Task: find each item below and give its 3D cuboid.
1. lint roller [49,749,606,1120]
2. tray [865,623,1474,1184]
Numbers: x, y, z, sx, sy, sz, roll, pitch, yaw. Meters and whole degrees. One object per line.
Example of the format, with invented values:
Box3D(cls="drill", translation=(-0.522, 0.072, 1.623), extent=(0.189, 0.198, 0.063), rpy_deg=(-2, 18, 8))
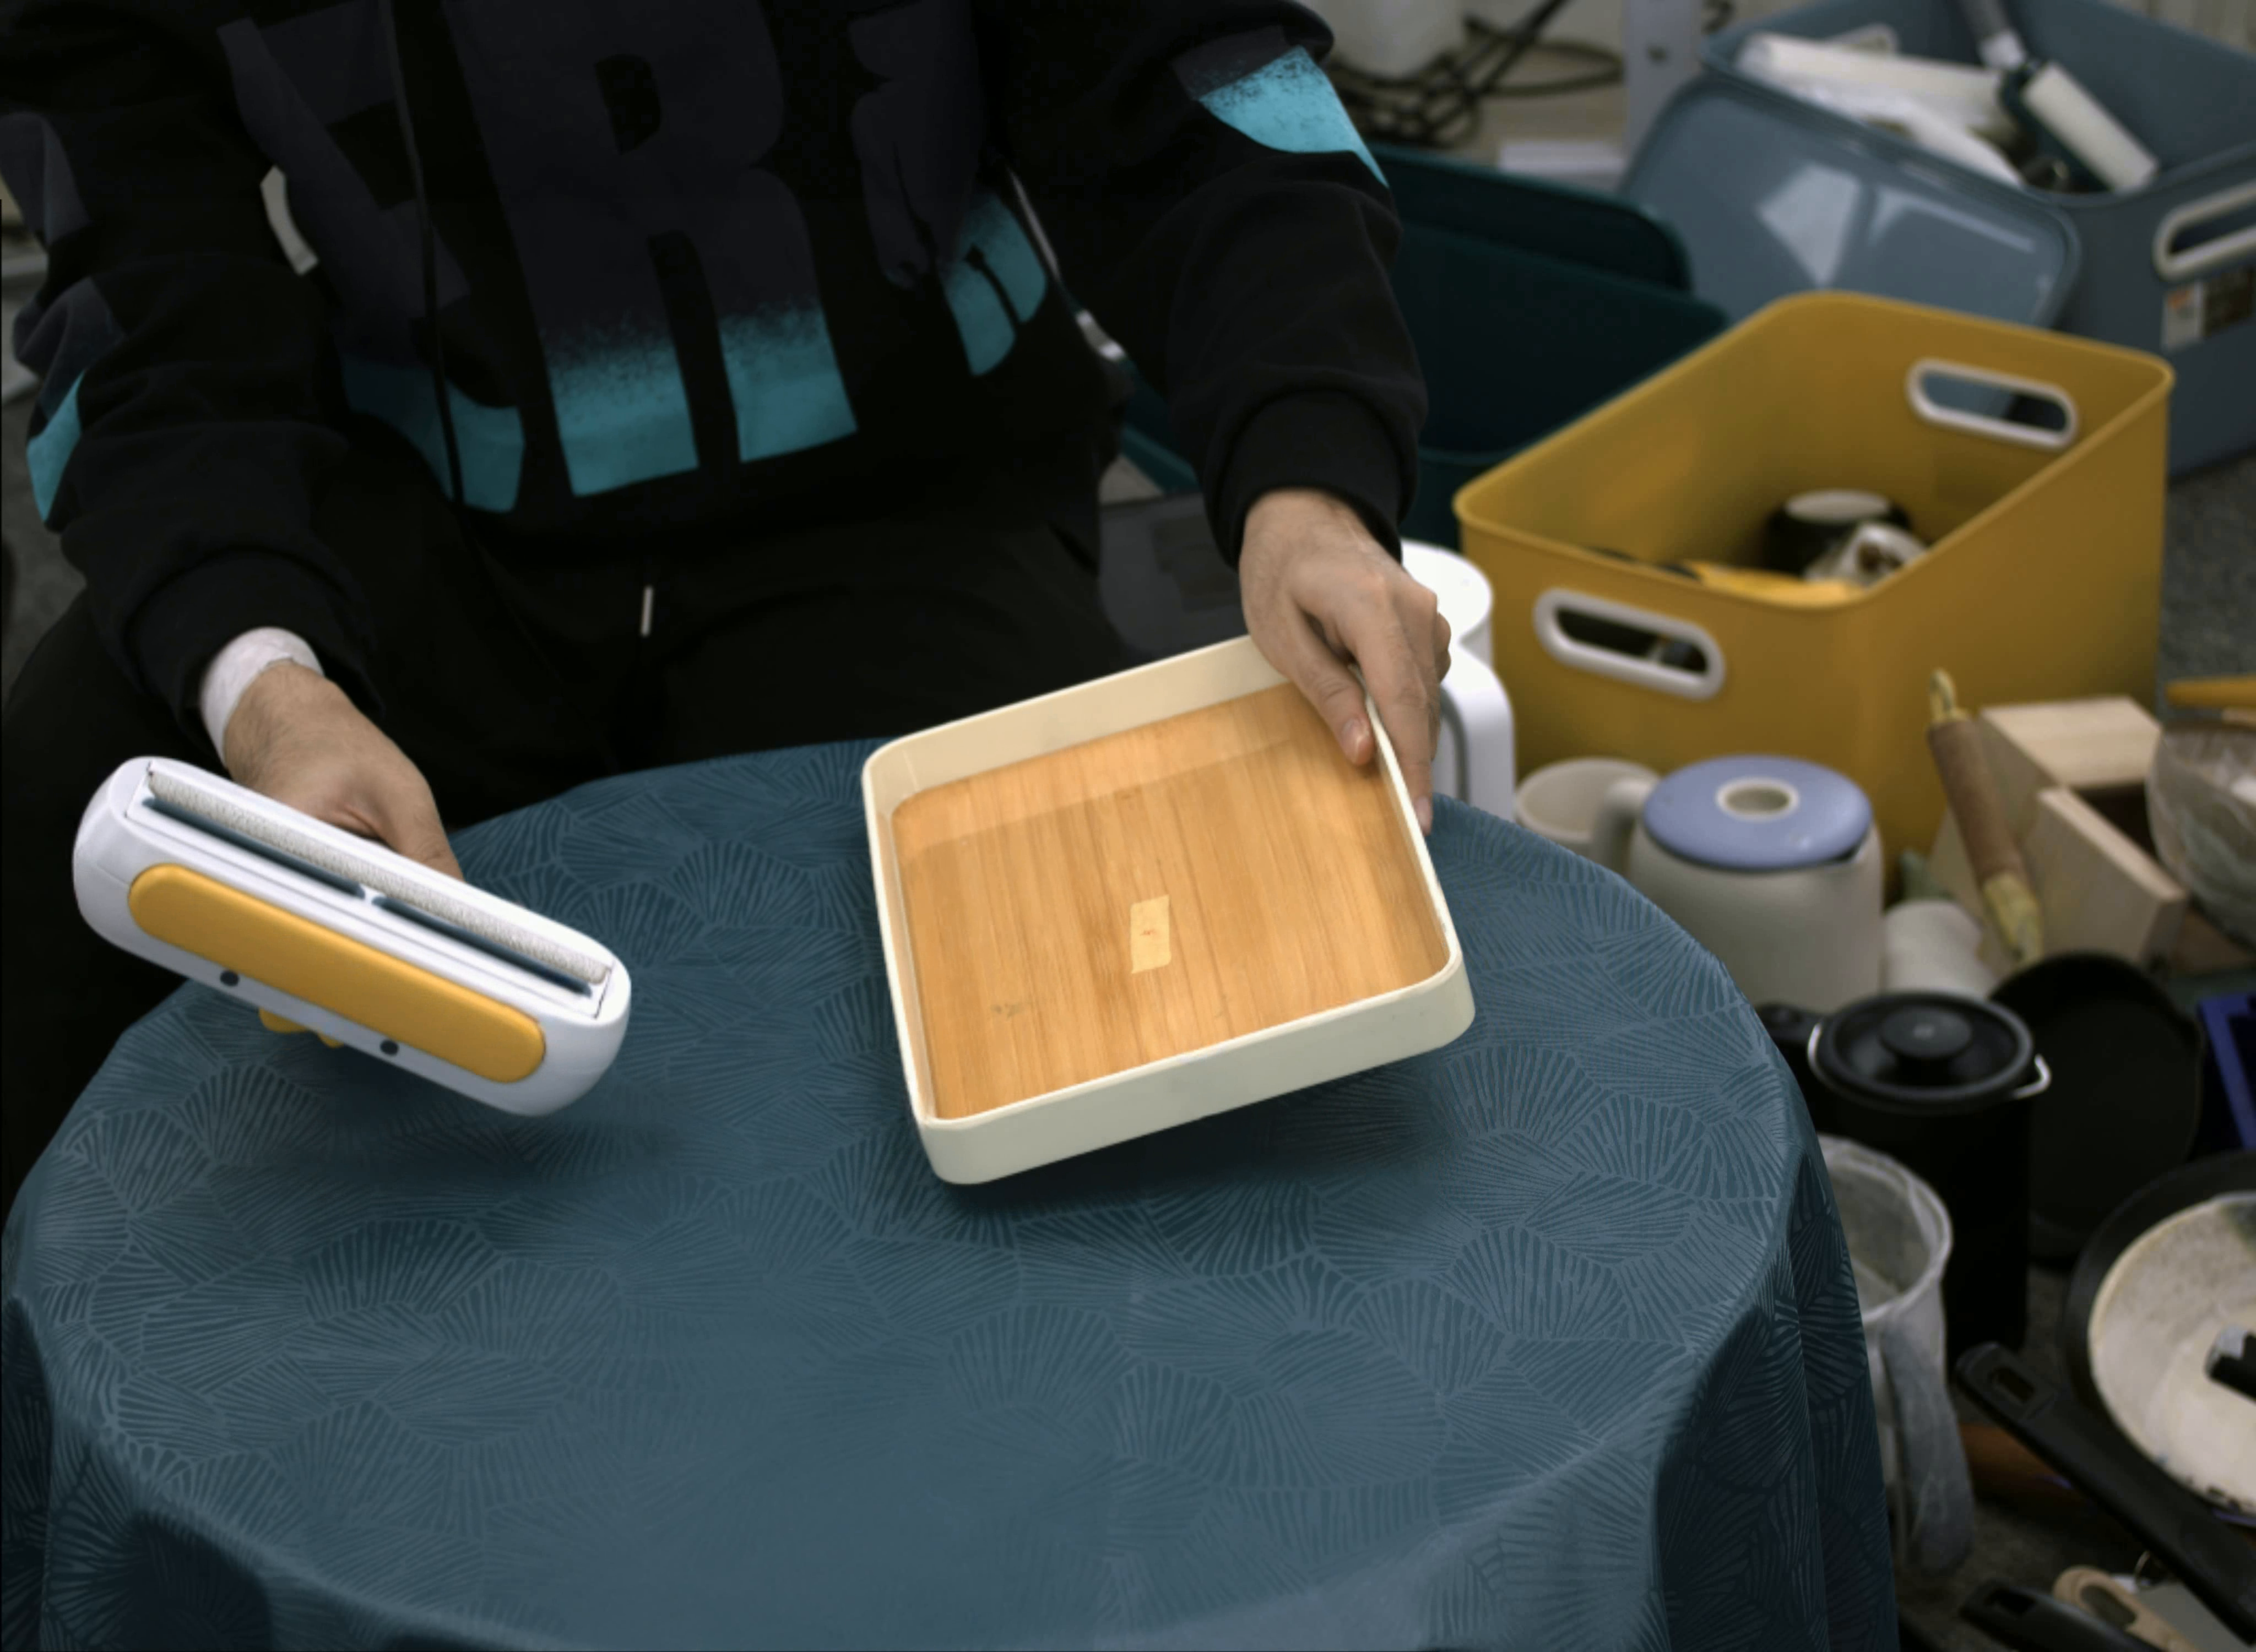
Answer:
Box3D(cls="lint roller", translation=(-0.266, 0.026, 1.928), extent=(0.192, 0.073, 0.194), rpy_deg=(21, 17, -4))
Box3D(cls="tray", translation=(0.009, 0.022, 1.970), extent=(0.191, 0.027, 0.304), rpy_deg=(-16, 26, 1))
